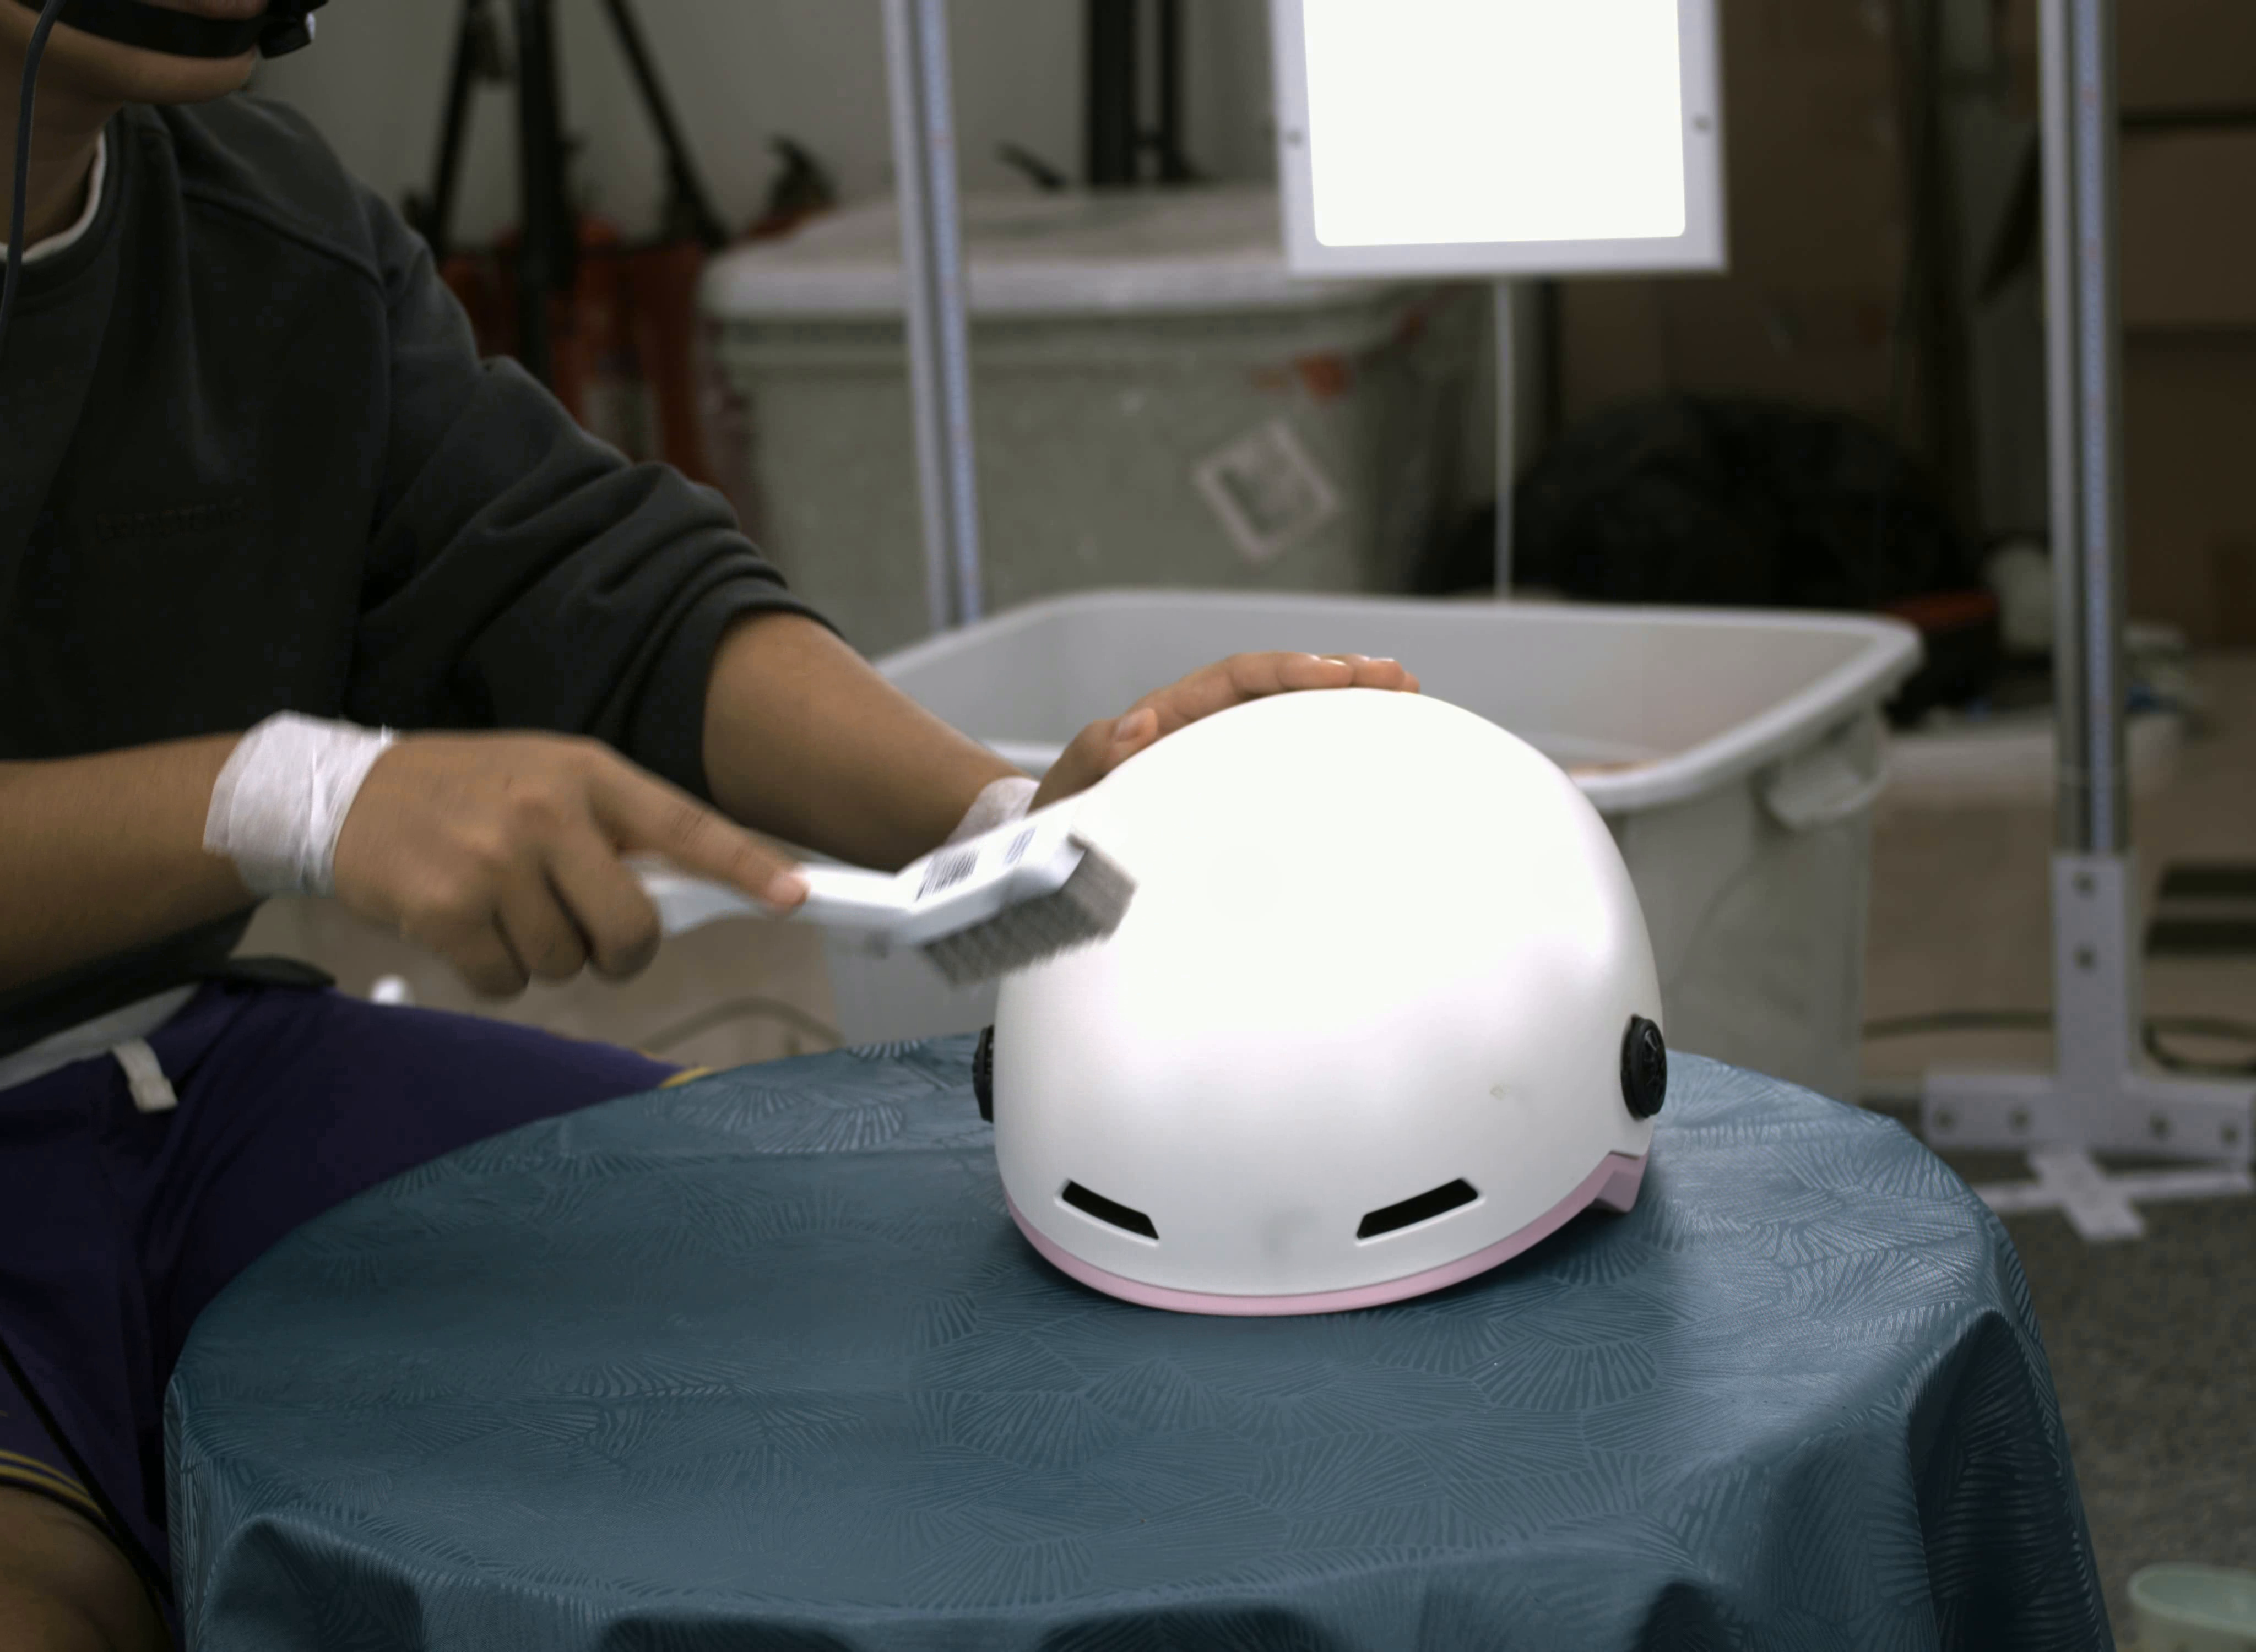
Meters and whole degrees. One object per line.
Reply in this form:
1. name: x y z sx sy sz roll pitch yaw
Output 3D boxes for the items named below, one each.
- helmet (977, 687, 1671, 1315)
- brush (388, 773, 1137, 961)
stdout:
1. helmet: 0.067 0.045 1.860 0.239 0.167 0.265 -1 15 16
2. brush: -0.116 0.024 1.728 0.247 0.050 0.034 -7 32 19
